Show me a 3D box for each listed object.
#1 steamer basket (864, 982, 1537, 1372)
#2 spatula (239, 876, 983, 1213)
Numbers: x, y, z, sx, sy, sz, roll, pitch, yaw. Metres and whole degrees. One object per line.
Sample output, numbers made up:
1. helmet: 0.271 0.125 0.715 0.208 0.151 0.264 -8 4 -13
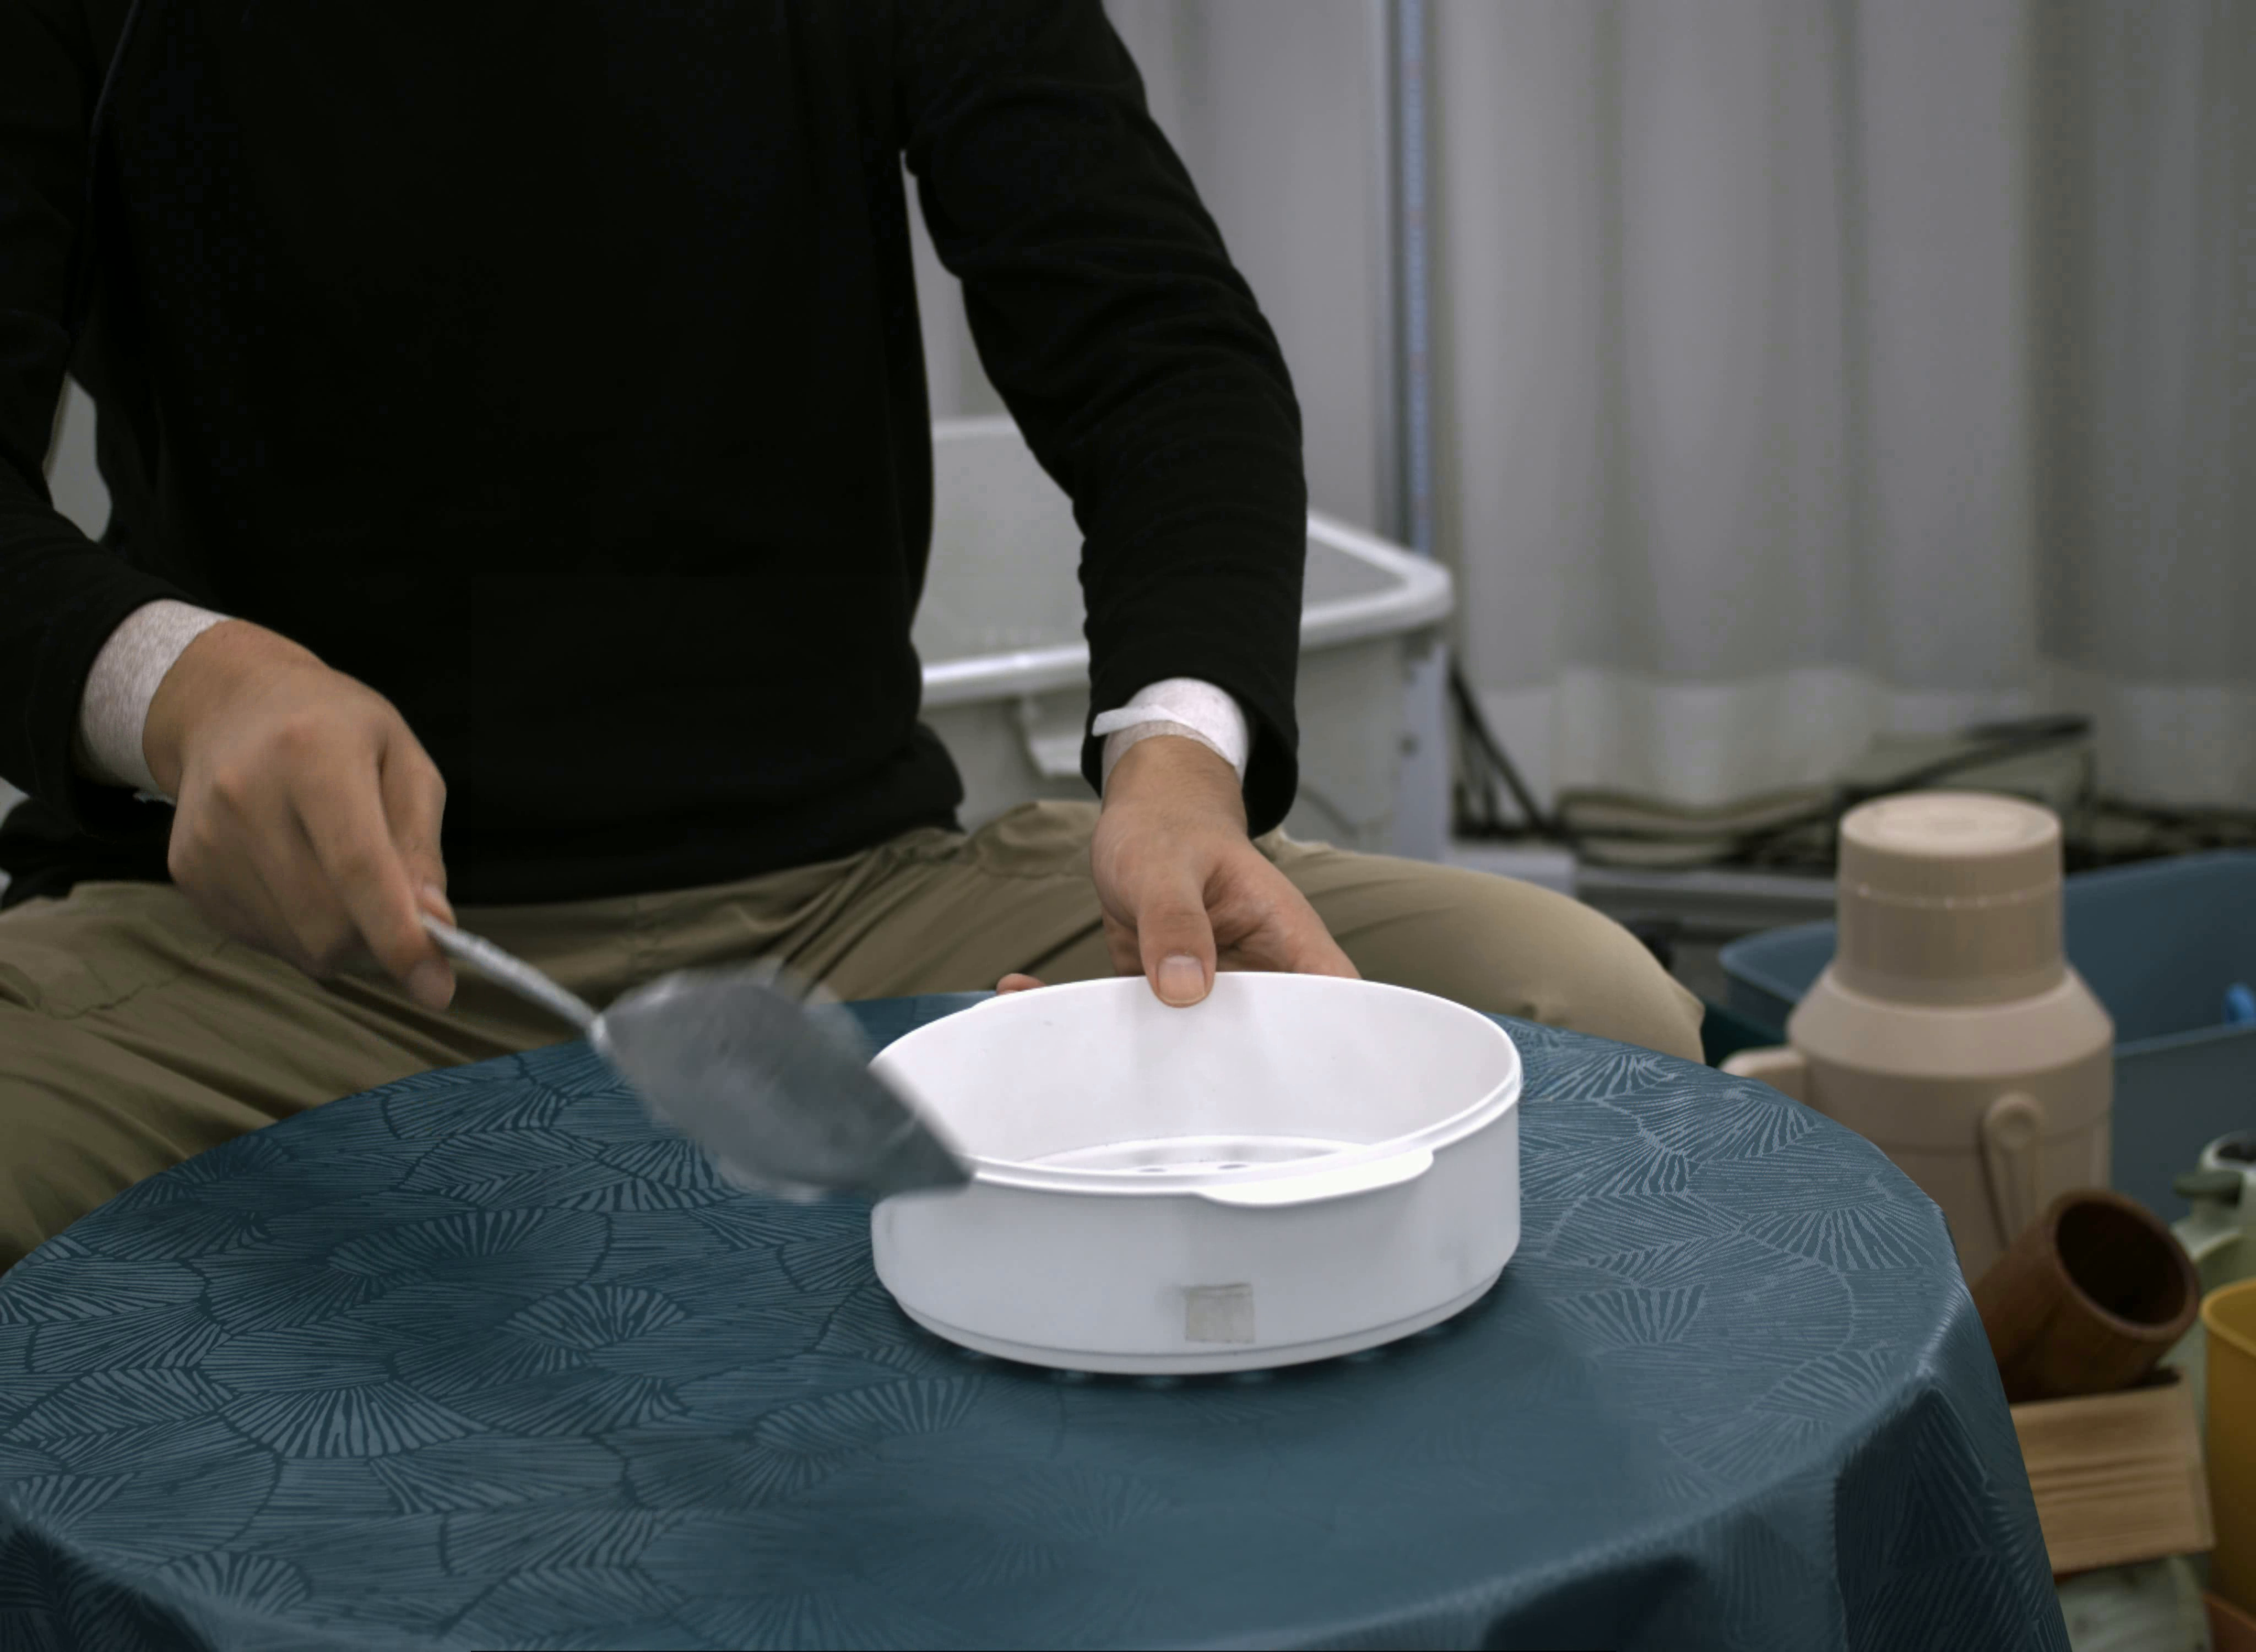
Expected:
1. steamer basket: 0.021 0.103 1.618 0.201 0.069 0.232 -7 14 -20
2. spatula: -0.170 0.048 1.574 0.045 0.097 0.368 -52 35 -11
